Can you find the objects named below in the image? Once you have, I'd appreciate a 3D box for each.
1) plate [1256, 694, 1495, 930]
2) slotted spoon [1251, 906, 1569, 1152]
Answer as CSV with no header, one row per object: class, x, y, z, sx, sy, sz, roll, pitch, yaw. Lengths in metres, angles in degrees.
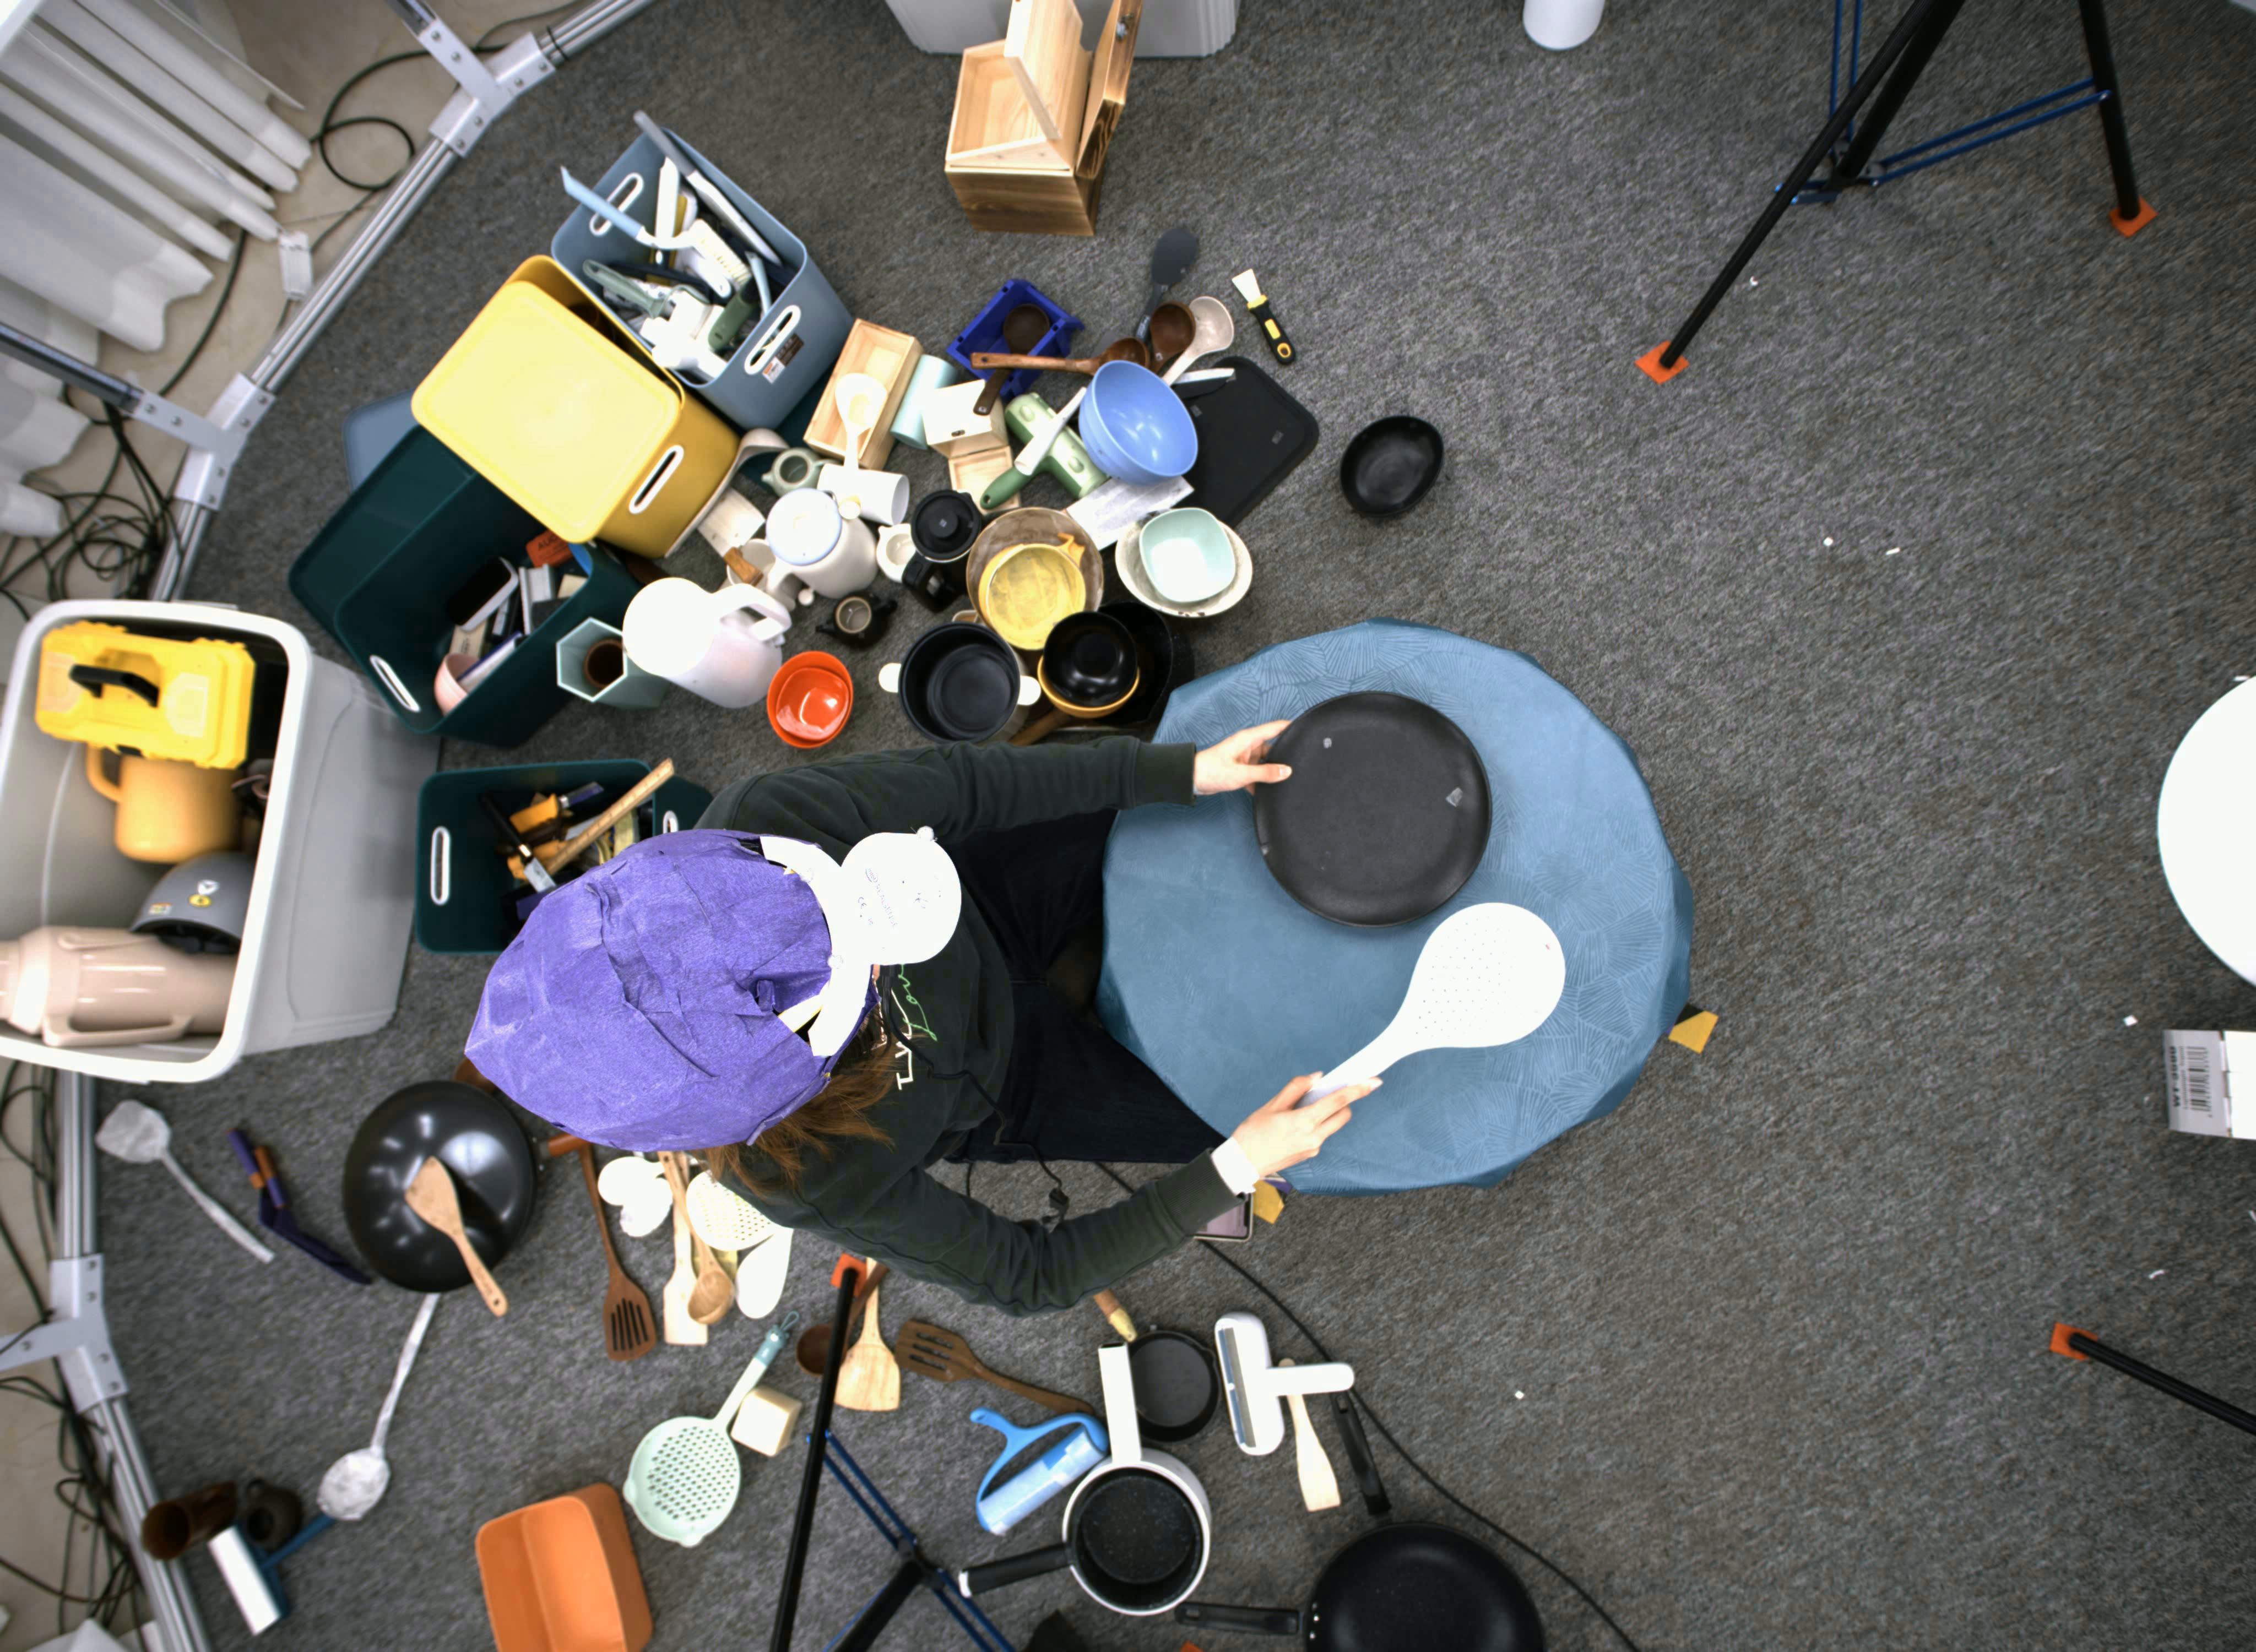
plate,0.254,-0.016,1.422,0.245,0.023,0.245,1,96,7
slotted spoon,0.263,0.205,1.318,0.352,0.046,0.133,-35,55,9
